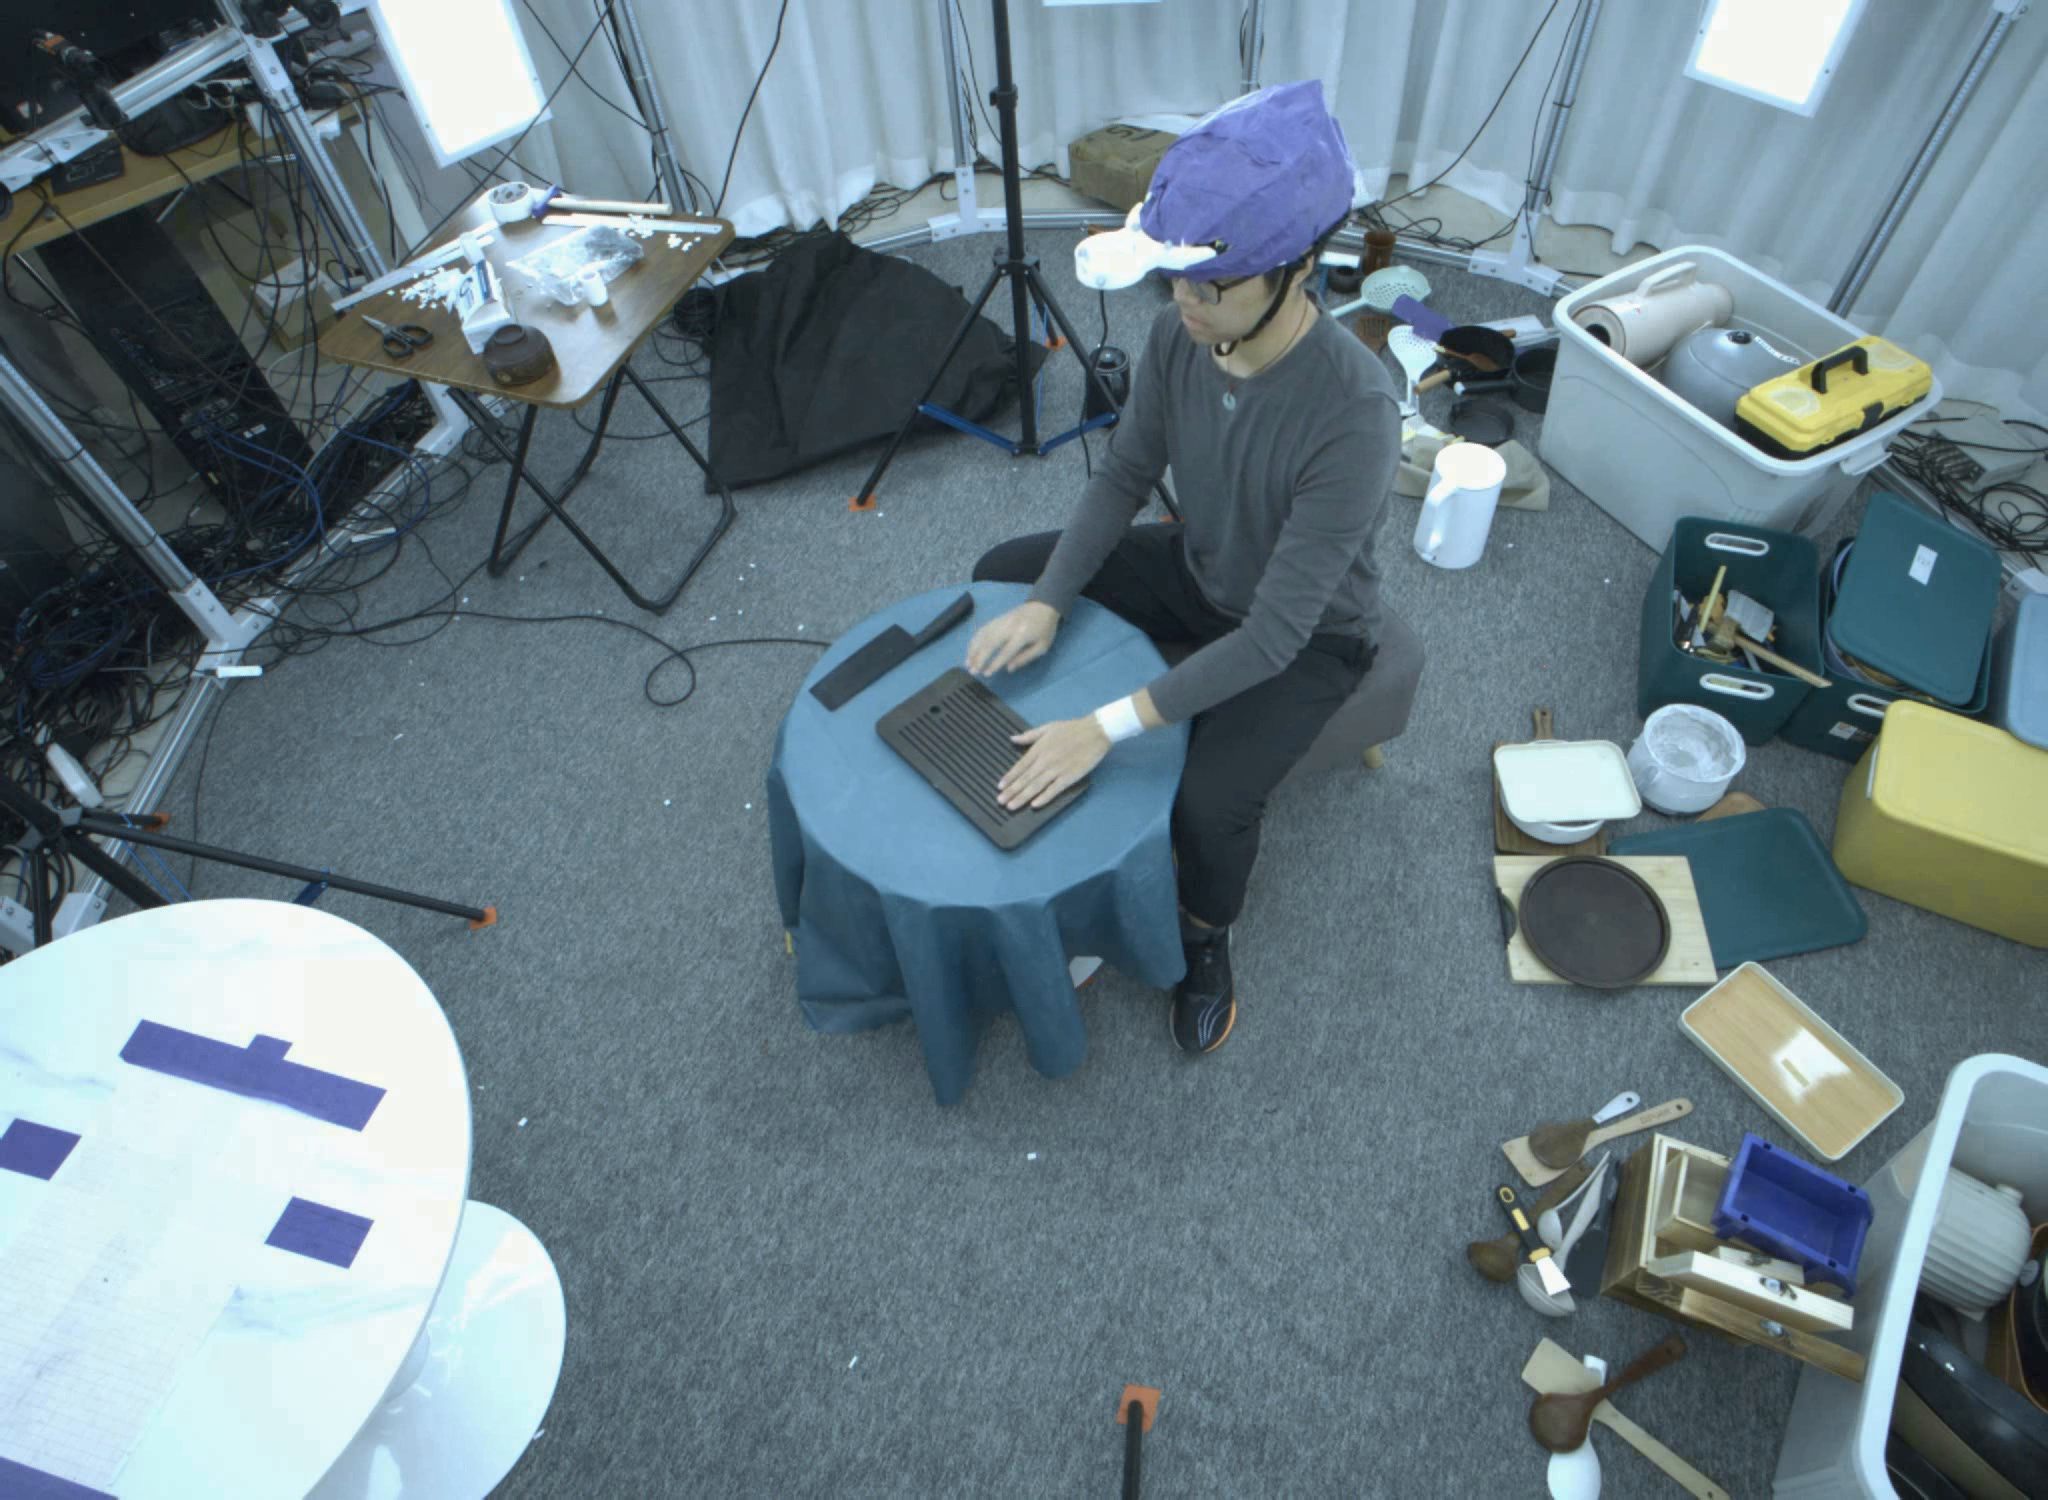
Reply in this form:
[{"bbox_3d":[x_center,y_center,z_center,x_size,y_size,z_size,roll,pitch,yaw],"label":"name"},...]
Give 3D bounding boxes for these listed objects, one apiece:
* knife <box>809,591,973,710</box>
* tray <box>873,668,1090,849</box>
[{"bbox_3d":[-0.201,-0.163,1.908,0.304,0.021,0.079,-35,60,-19],"label":"knife"},{"bbox_3d":[-0.064,0.008,1.779,0.171,0.019,0.300,-37,62,-23],"label":"tray"}]
